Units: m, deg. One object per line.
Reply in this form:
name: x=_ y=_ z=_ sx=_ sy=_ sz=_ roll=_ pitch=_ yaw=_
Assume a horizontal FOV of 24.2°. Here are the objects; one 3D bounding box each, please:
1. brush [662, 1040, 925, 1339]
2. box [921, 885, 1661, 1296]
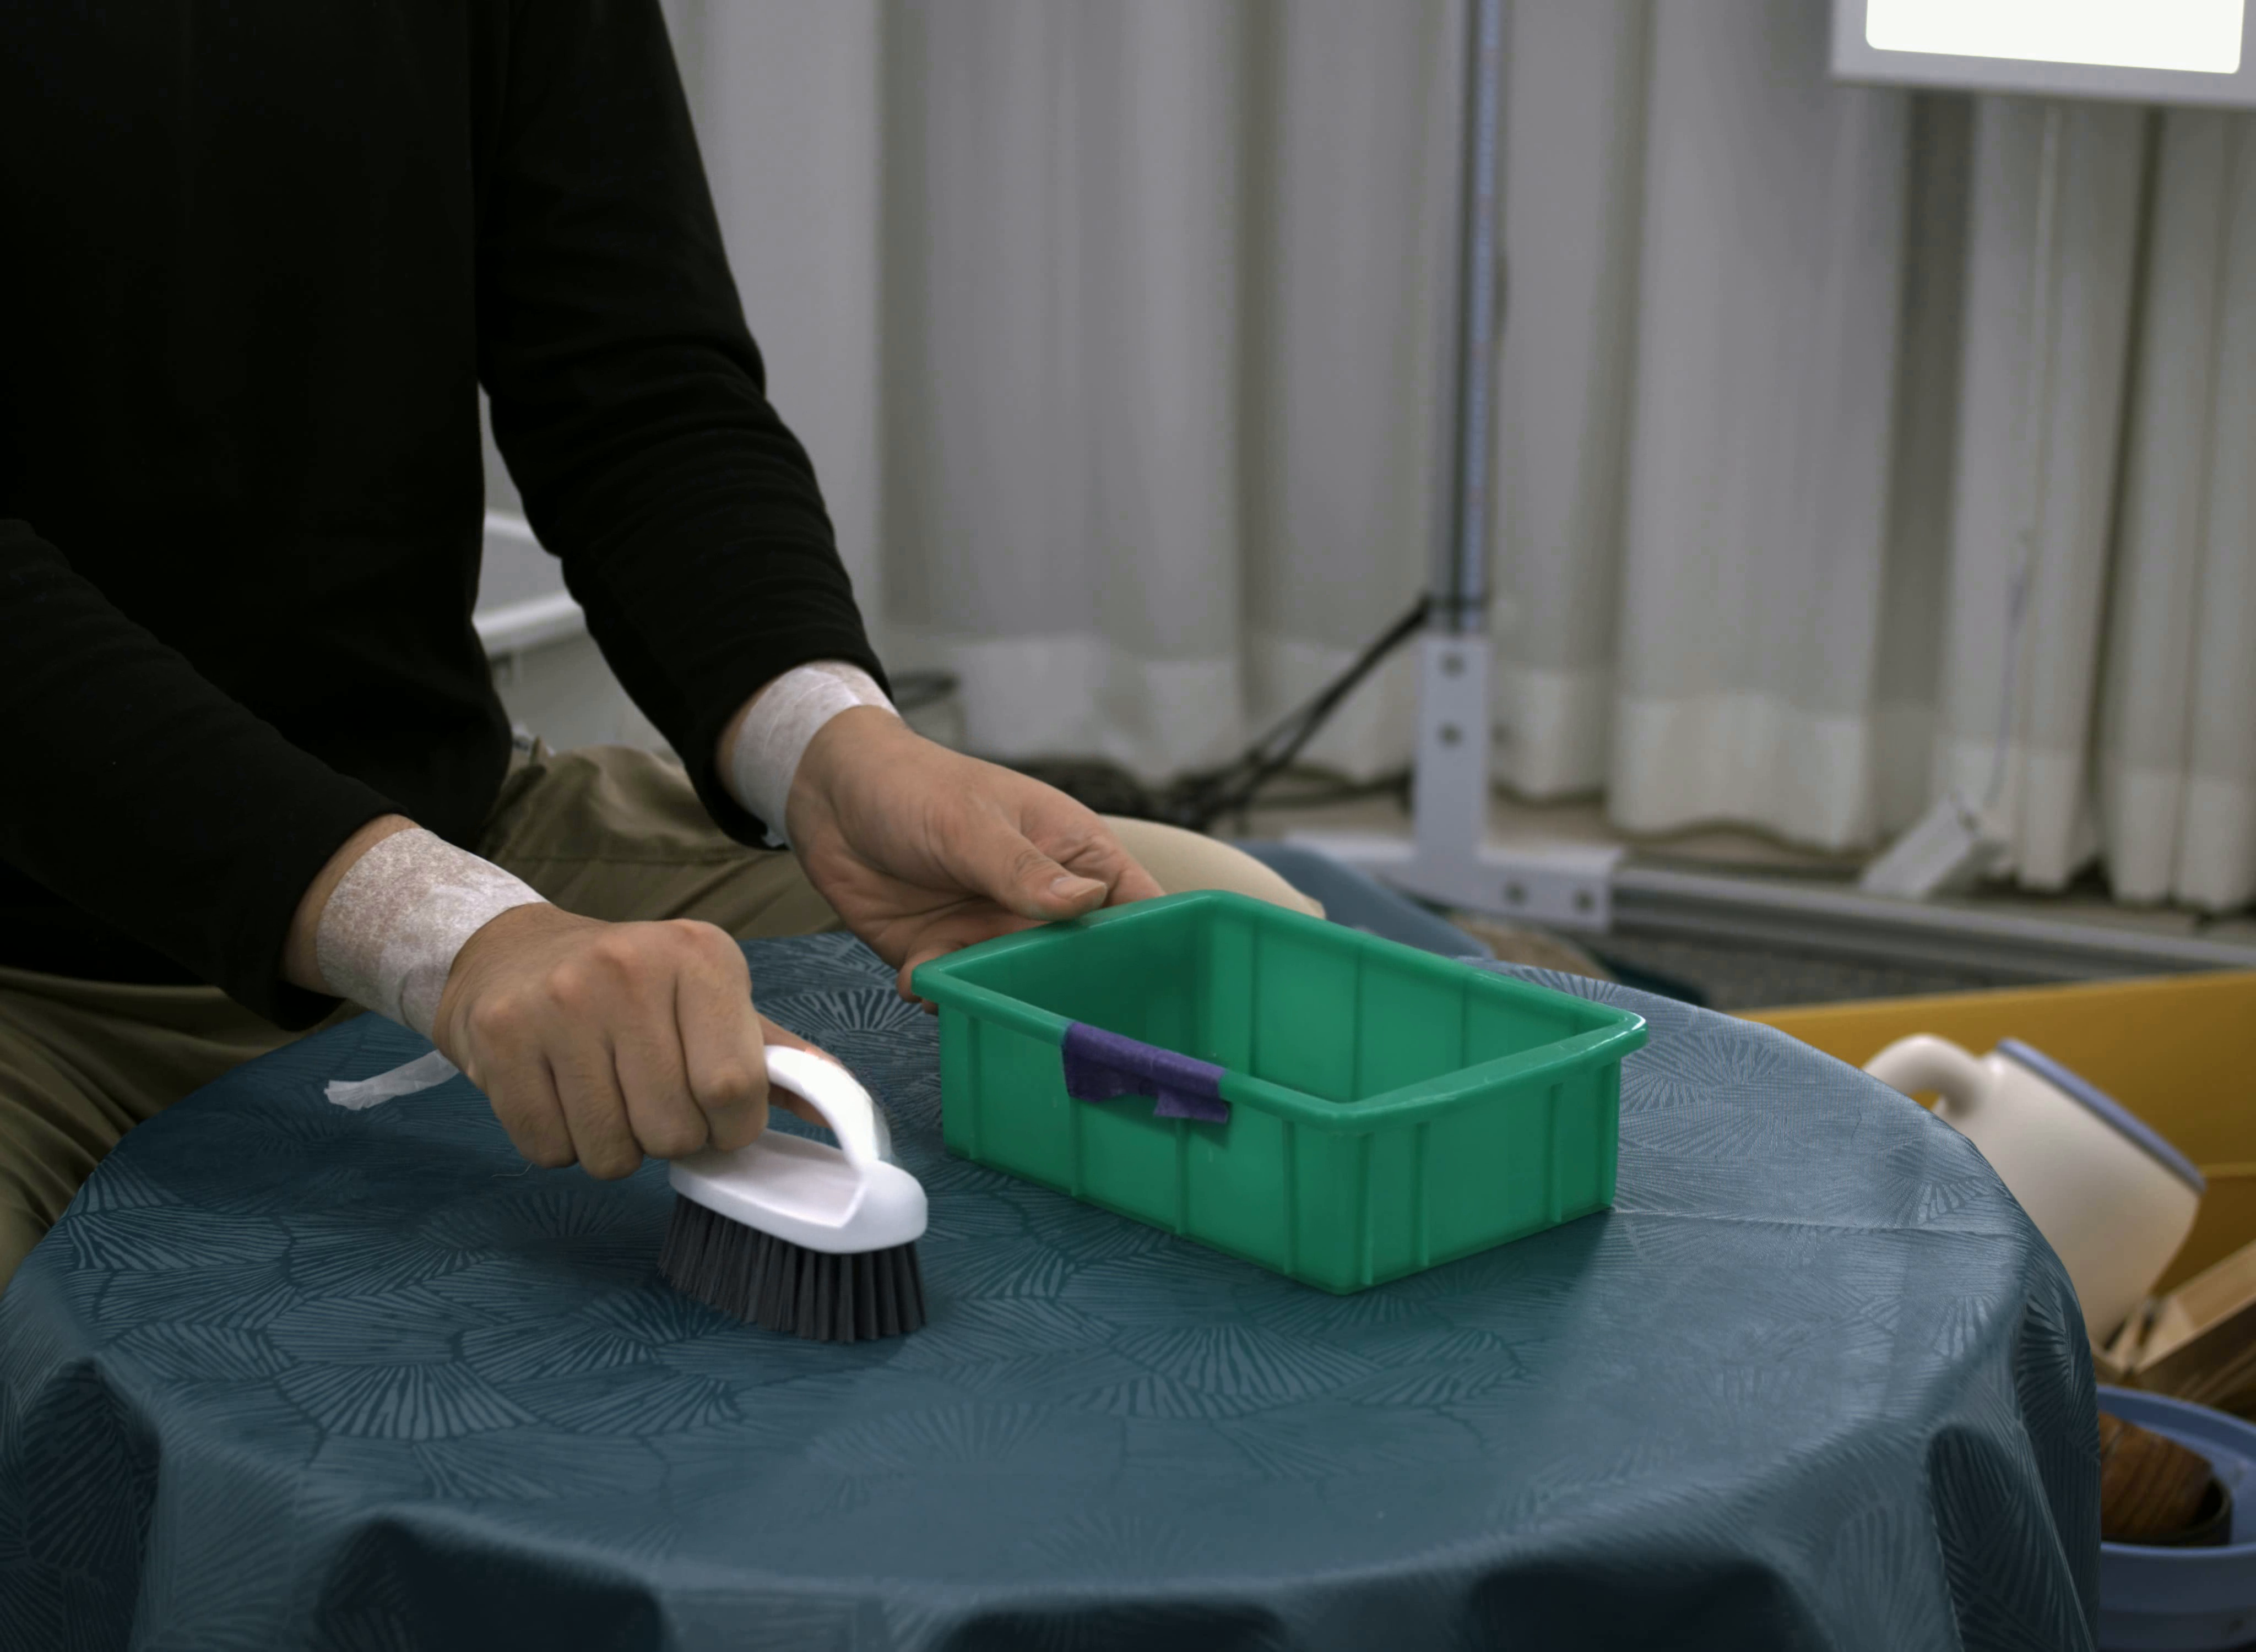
brush: x=-0.098 y=0.100 z=1.523 sx=0.050 sy=0.073 sz=0.098 roll=-12 pitch=20 yaw=-36
box: x=0.049 y=0.080 z=1.622 sx=0.139 sy=0.066 sz=0.207 roll=-17 pitch=24 yaw=-42
